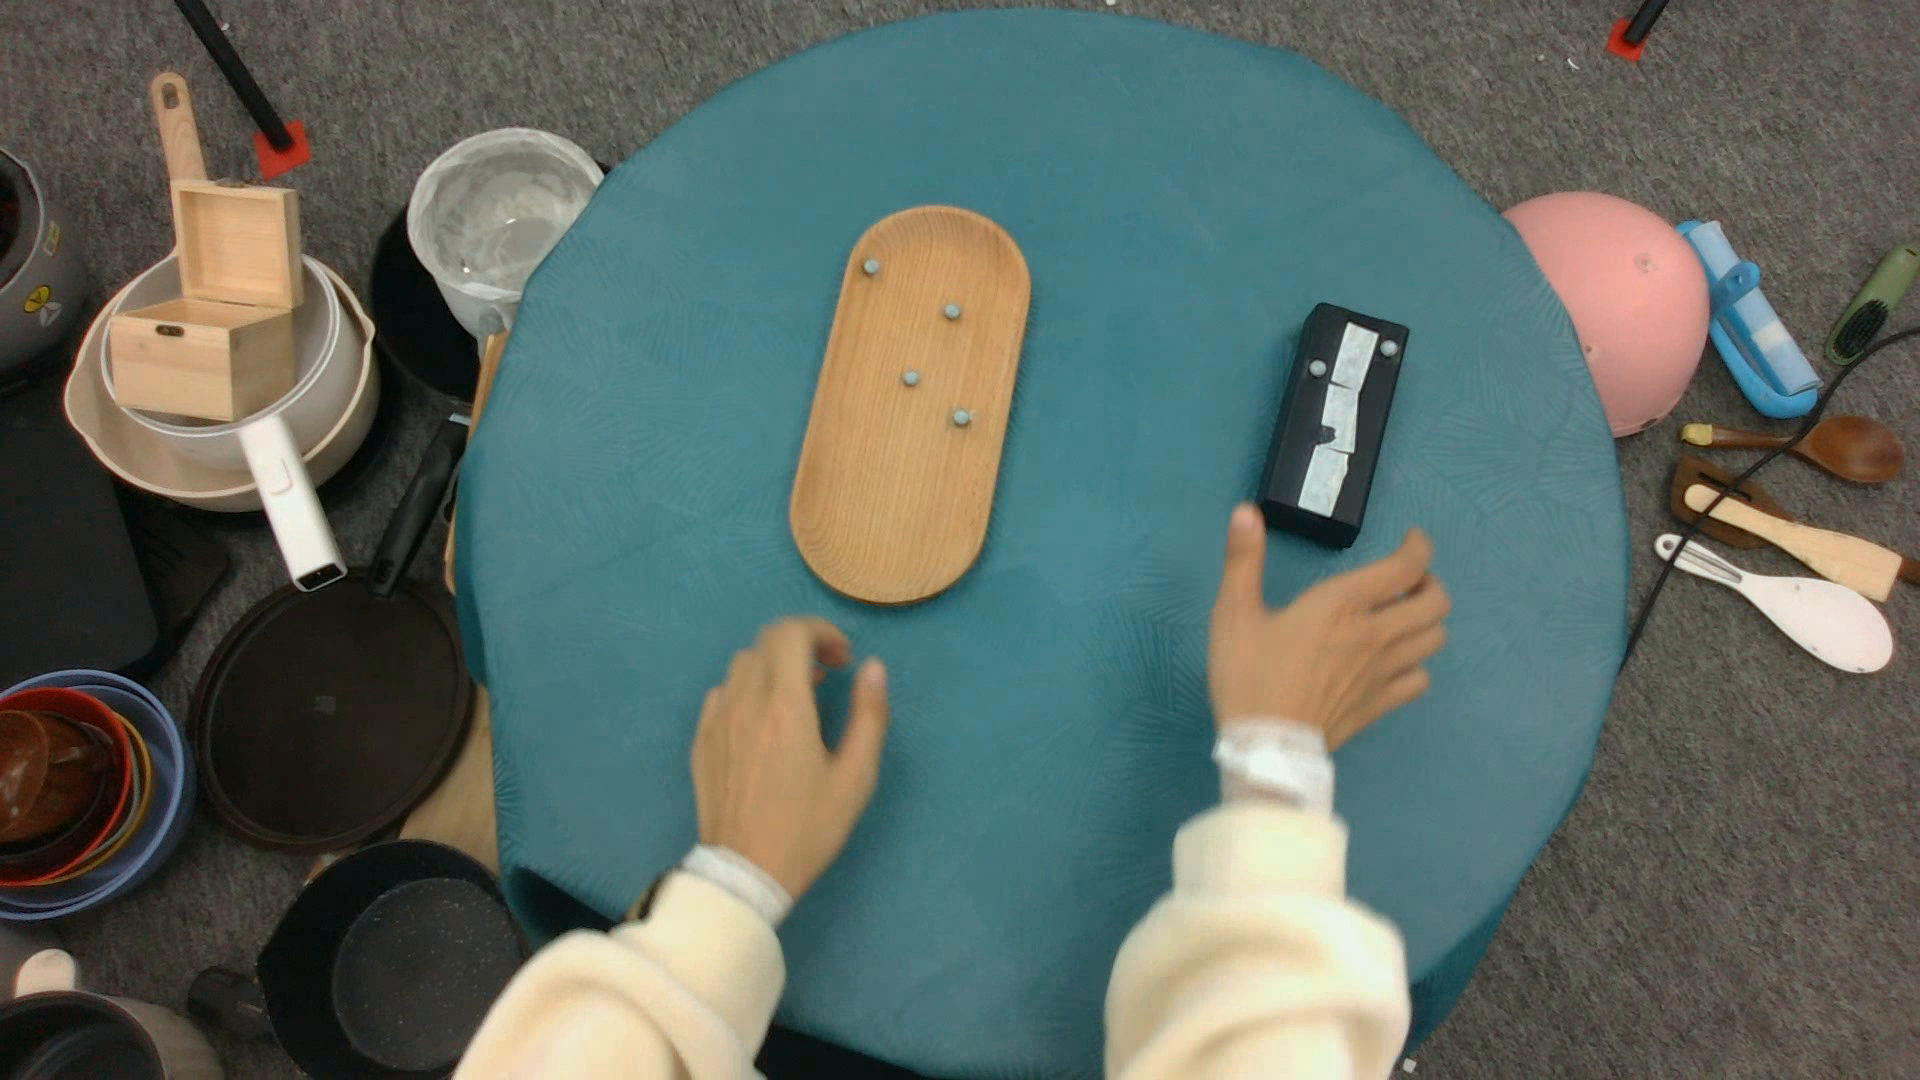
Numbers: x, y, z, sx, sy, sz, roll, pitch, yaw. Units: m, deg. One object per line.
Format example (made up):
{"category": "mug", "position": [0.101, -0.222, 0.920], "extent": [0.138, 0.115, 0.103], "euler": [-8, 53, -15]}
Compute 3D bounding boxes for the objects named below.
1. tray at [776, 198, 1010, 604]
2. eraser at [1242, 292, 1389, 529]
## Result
{"category": "tray", "position": [-0.033, -0.077, 0.717], "extent": [0.101, 0.020, 0.232], "euler": [8, 71, 0]}
{"category": "eraser", "position": [0.186, -0.070, 0.721], "extent": [0.053, 0.030, 0.126], "euler": [15, 68, 8]}
